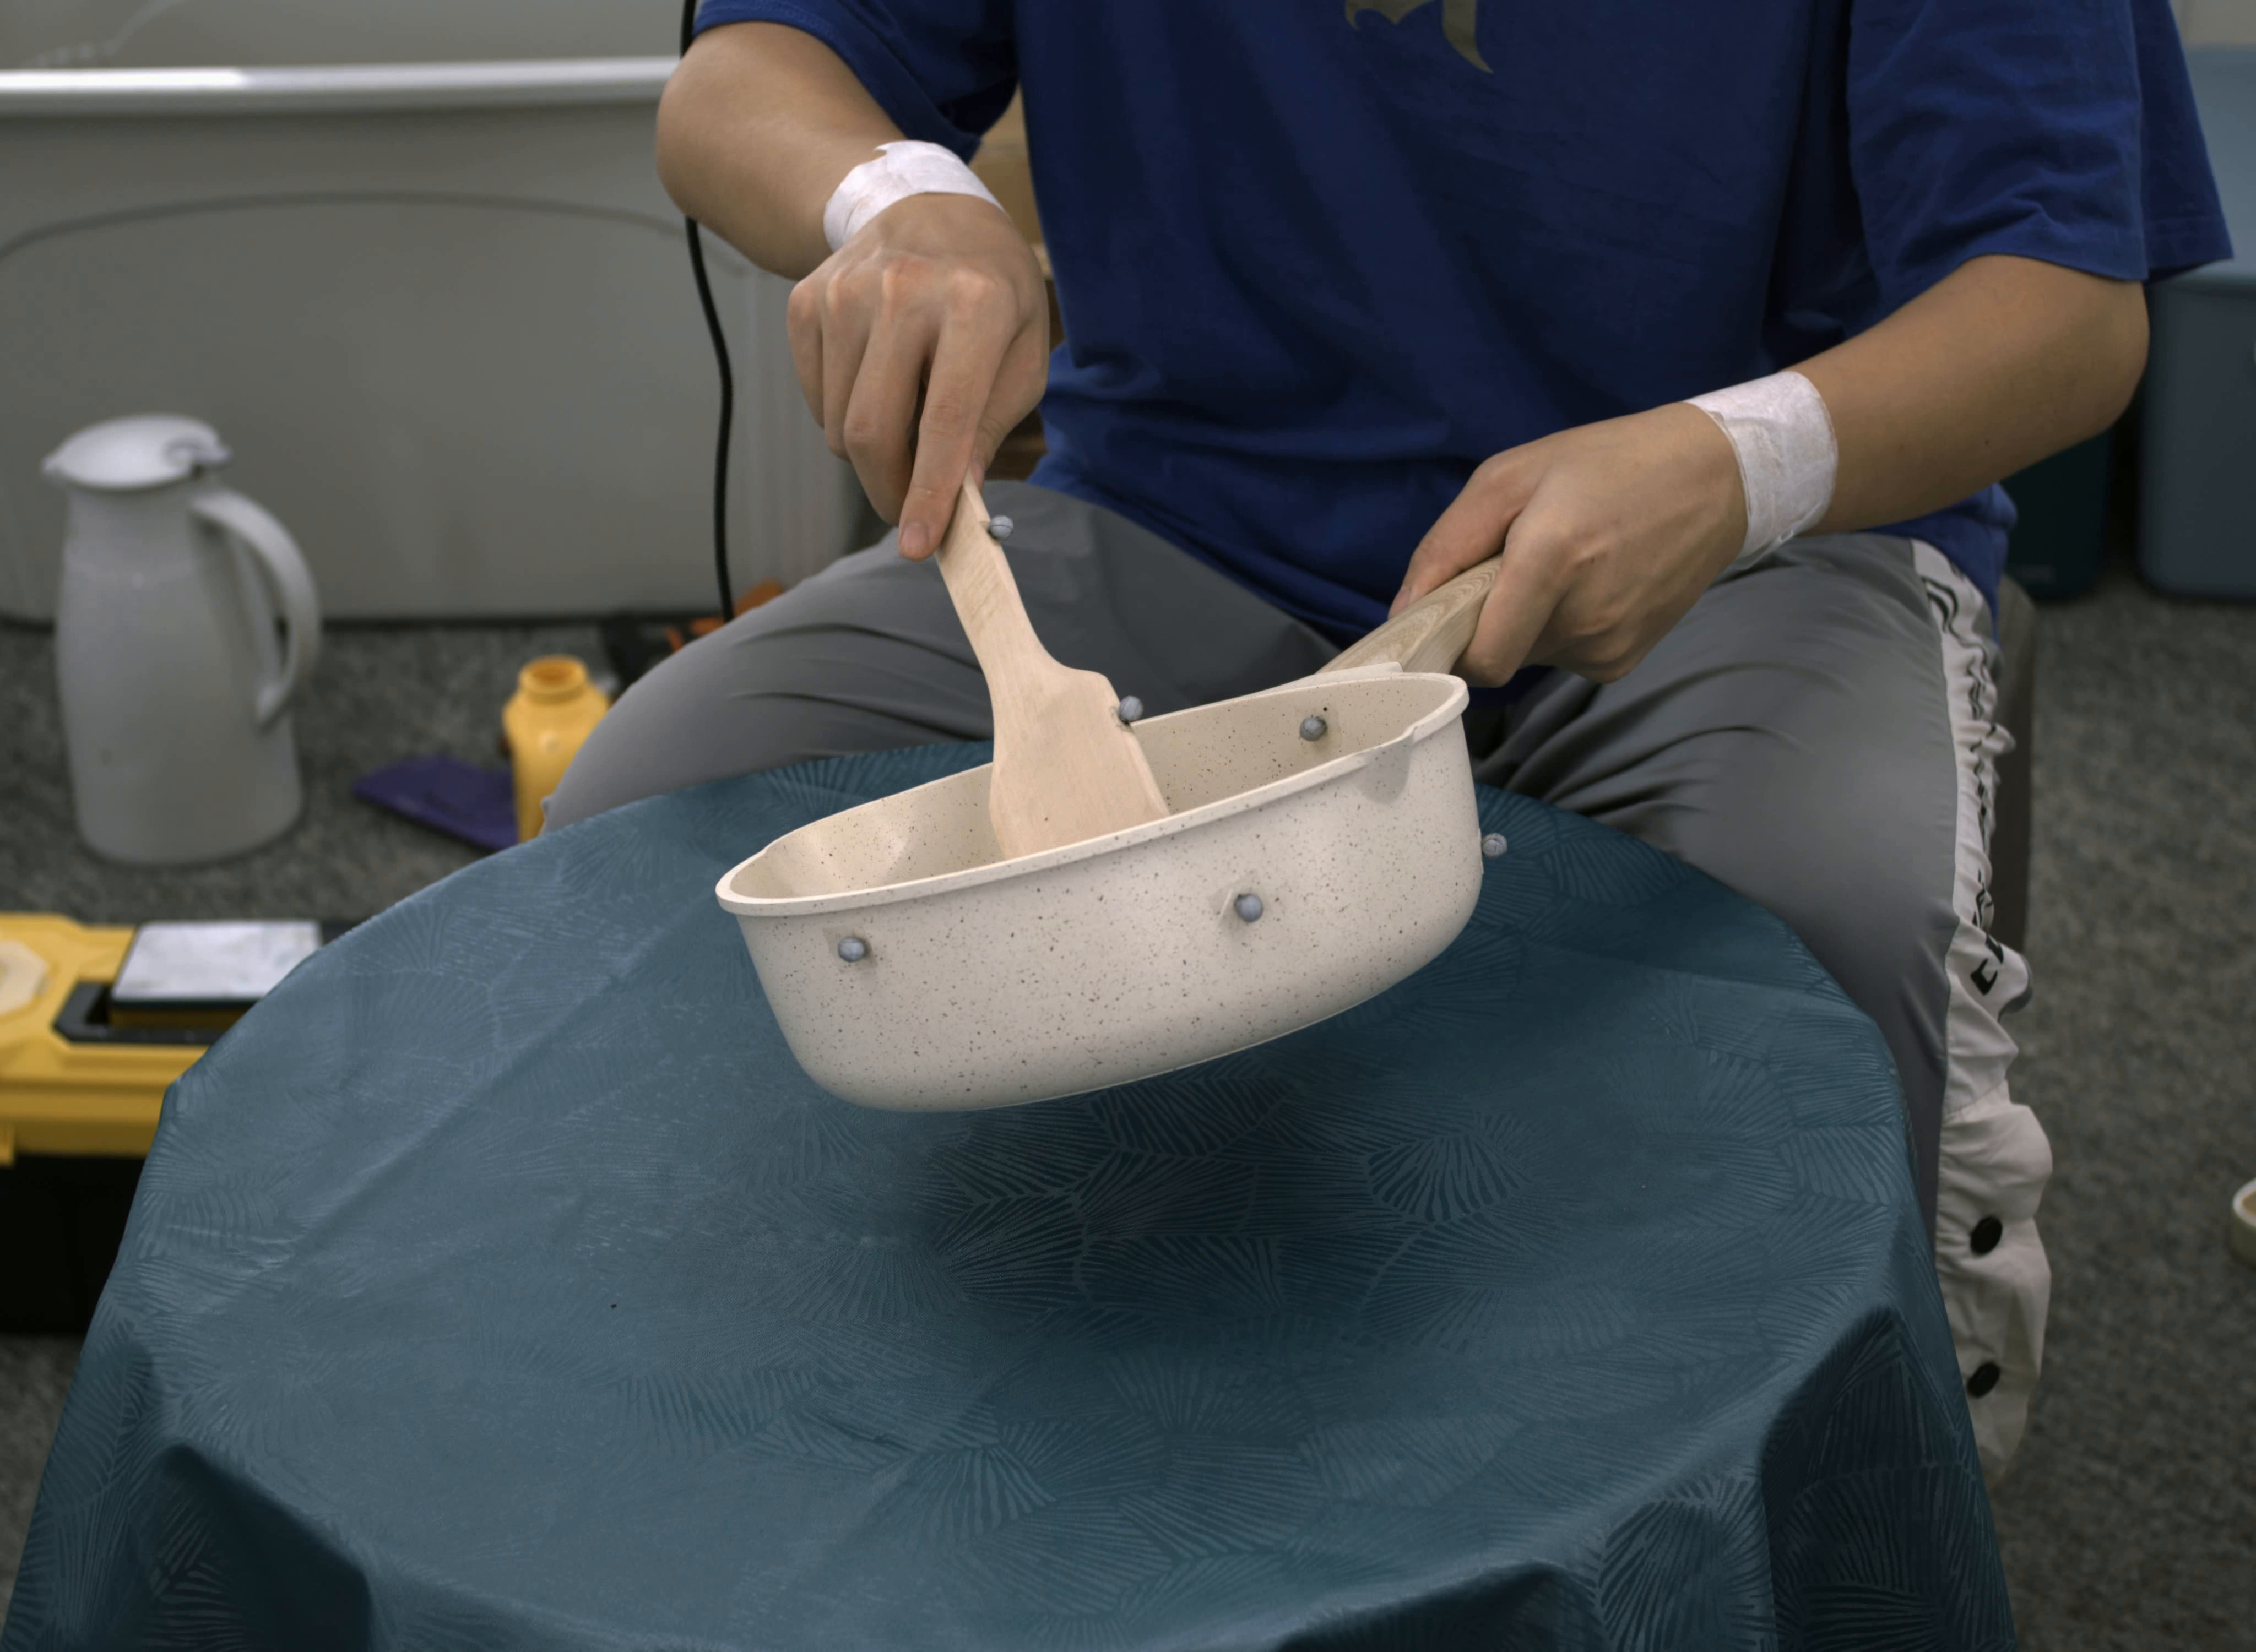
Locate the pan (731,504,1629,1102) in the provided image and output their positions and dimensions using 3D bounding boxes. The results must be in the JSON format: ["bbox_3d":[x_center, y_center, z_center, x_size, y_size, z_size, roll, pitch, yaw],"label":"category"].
[{"bbox_3d":[0.056,-0.010,1.883,0.260,0.102,0.440,-11,8,40],"label":"pan"}]

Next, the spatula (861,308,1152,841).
[{"bbox_3d":[-0.047,-0.075,1.912,0.010,0.071,0.297,15,37,-34],"label":"spatula"}]
